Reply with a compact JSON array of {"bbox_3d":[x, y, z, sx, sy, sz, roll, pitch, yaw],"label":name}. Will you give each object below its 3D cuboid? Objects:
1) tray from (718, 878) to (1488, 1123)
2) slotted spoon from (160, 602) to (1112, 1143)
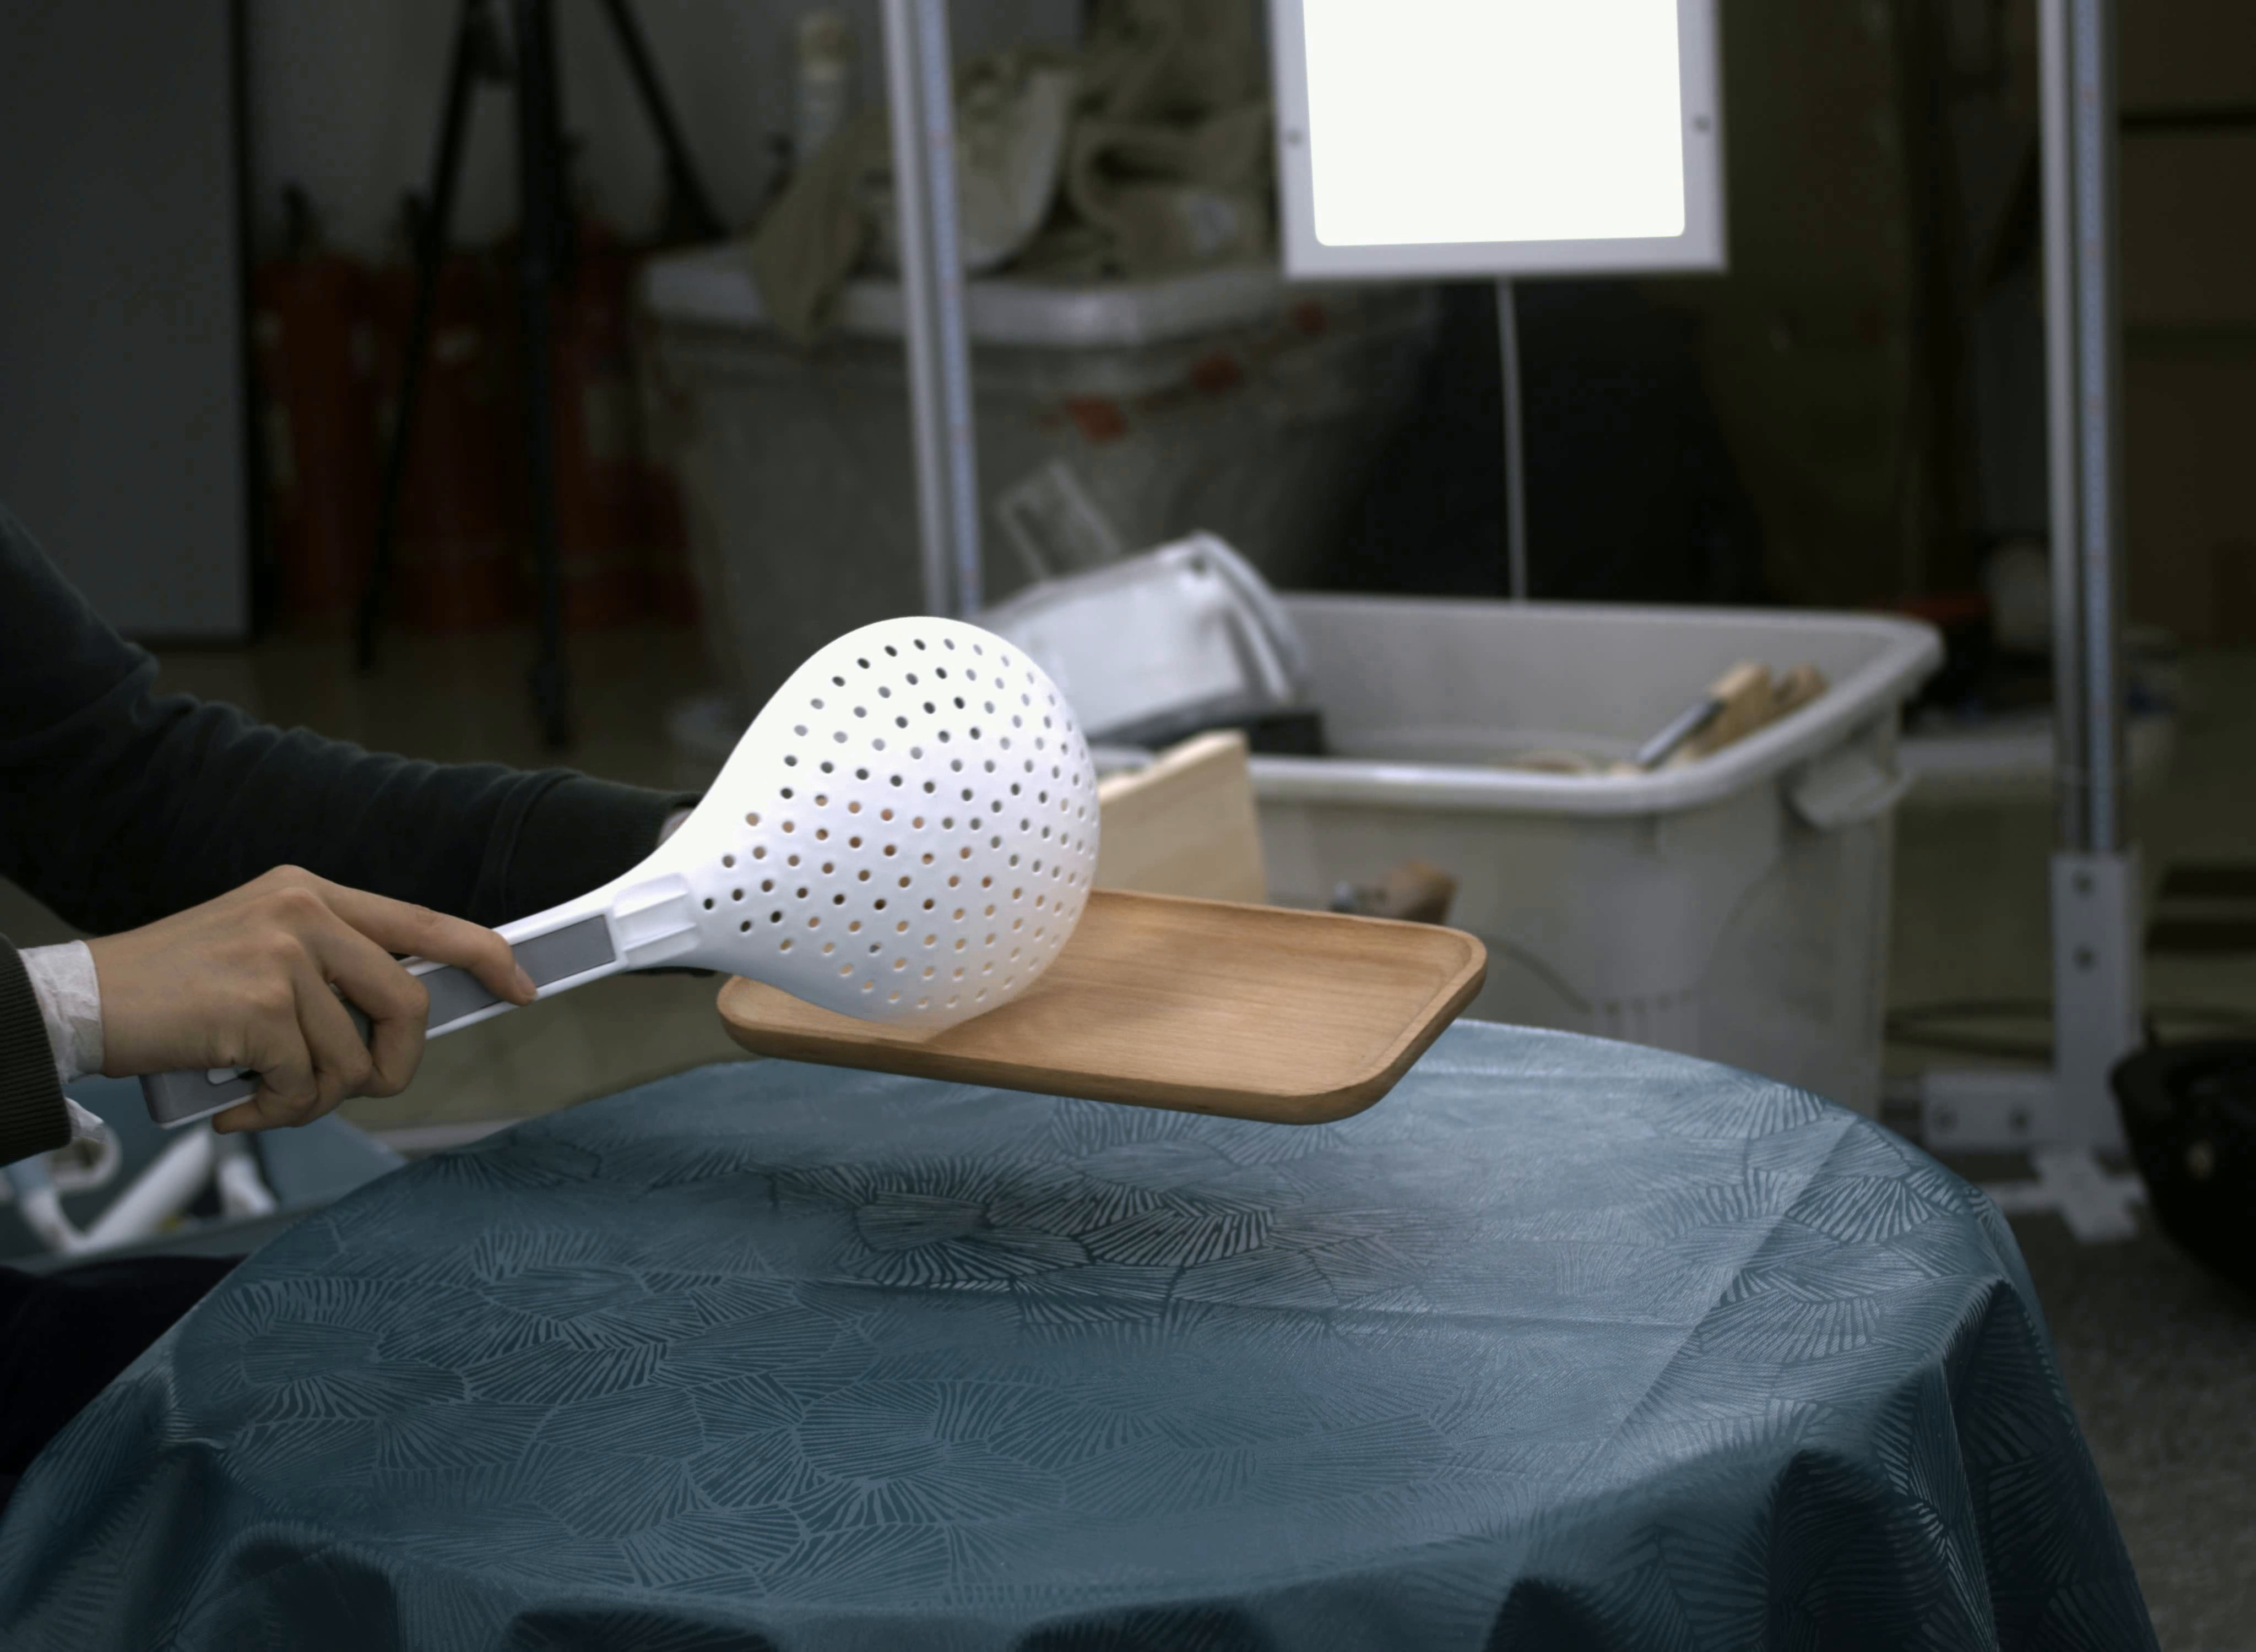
[{"bbox_3d":[-0.009,0.055,1.842,0.255,0.023,0.128,5,26,30],"label":"tray"},{"bbox_3d":[-0.150,0.029,1.774,0.343,0.136,0.046,-20,9,-21],"label":"slotted spoon"}]
